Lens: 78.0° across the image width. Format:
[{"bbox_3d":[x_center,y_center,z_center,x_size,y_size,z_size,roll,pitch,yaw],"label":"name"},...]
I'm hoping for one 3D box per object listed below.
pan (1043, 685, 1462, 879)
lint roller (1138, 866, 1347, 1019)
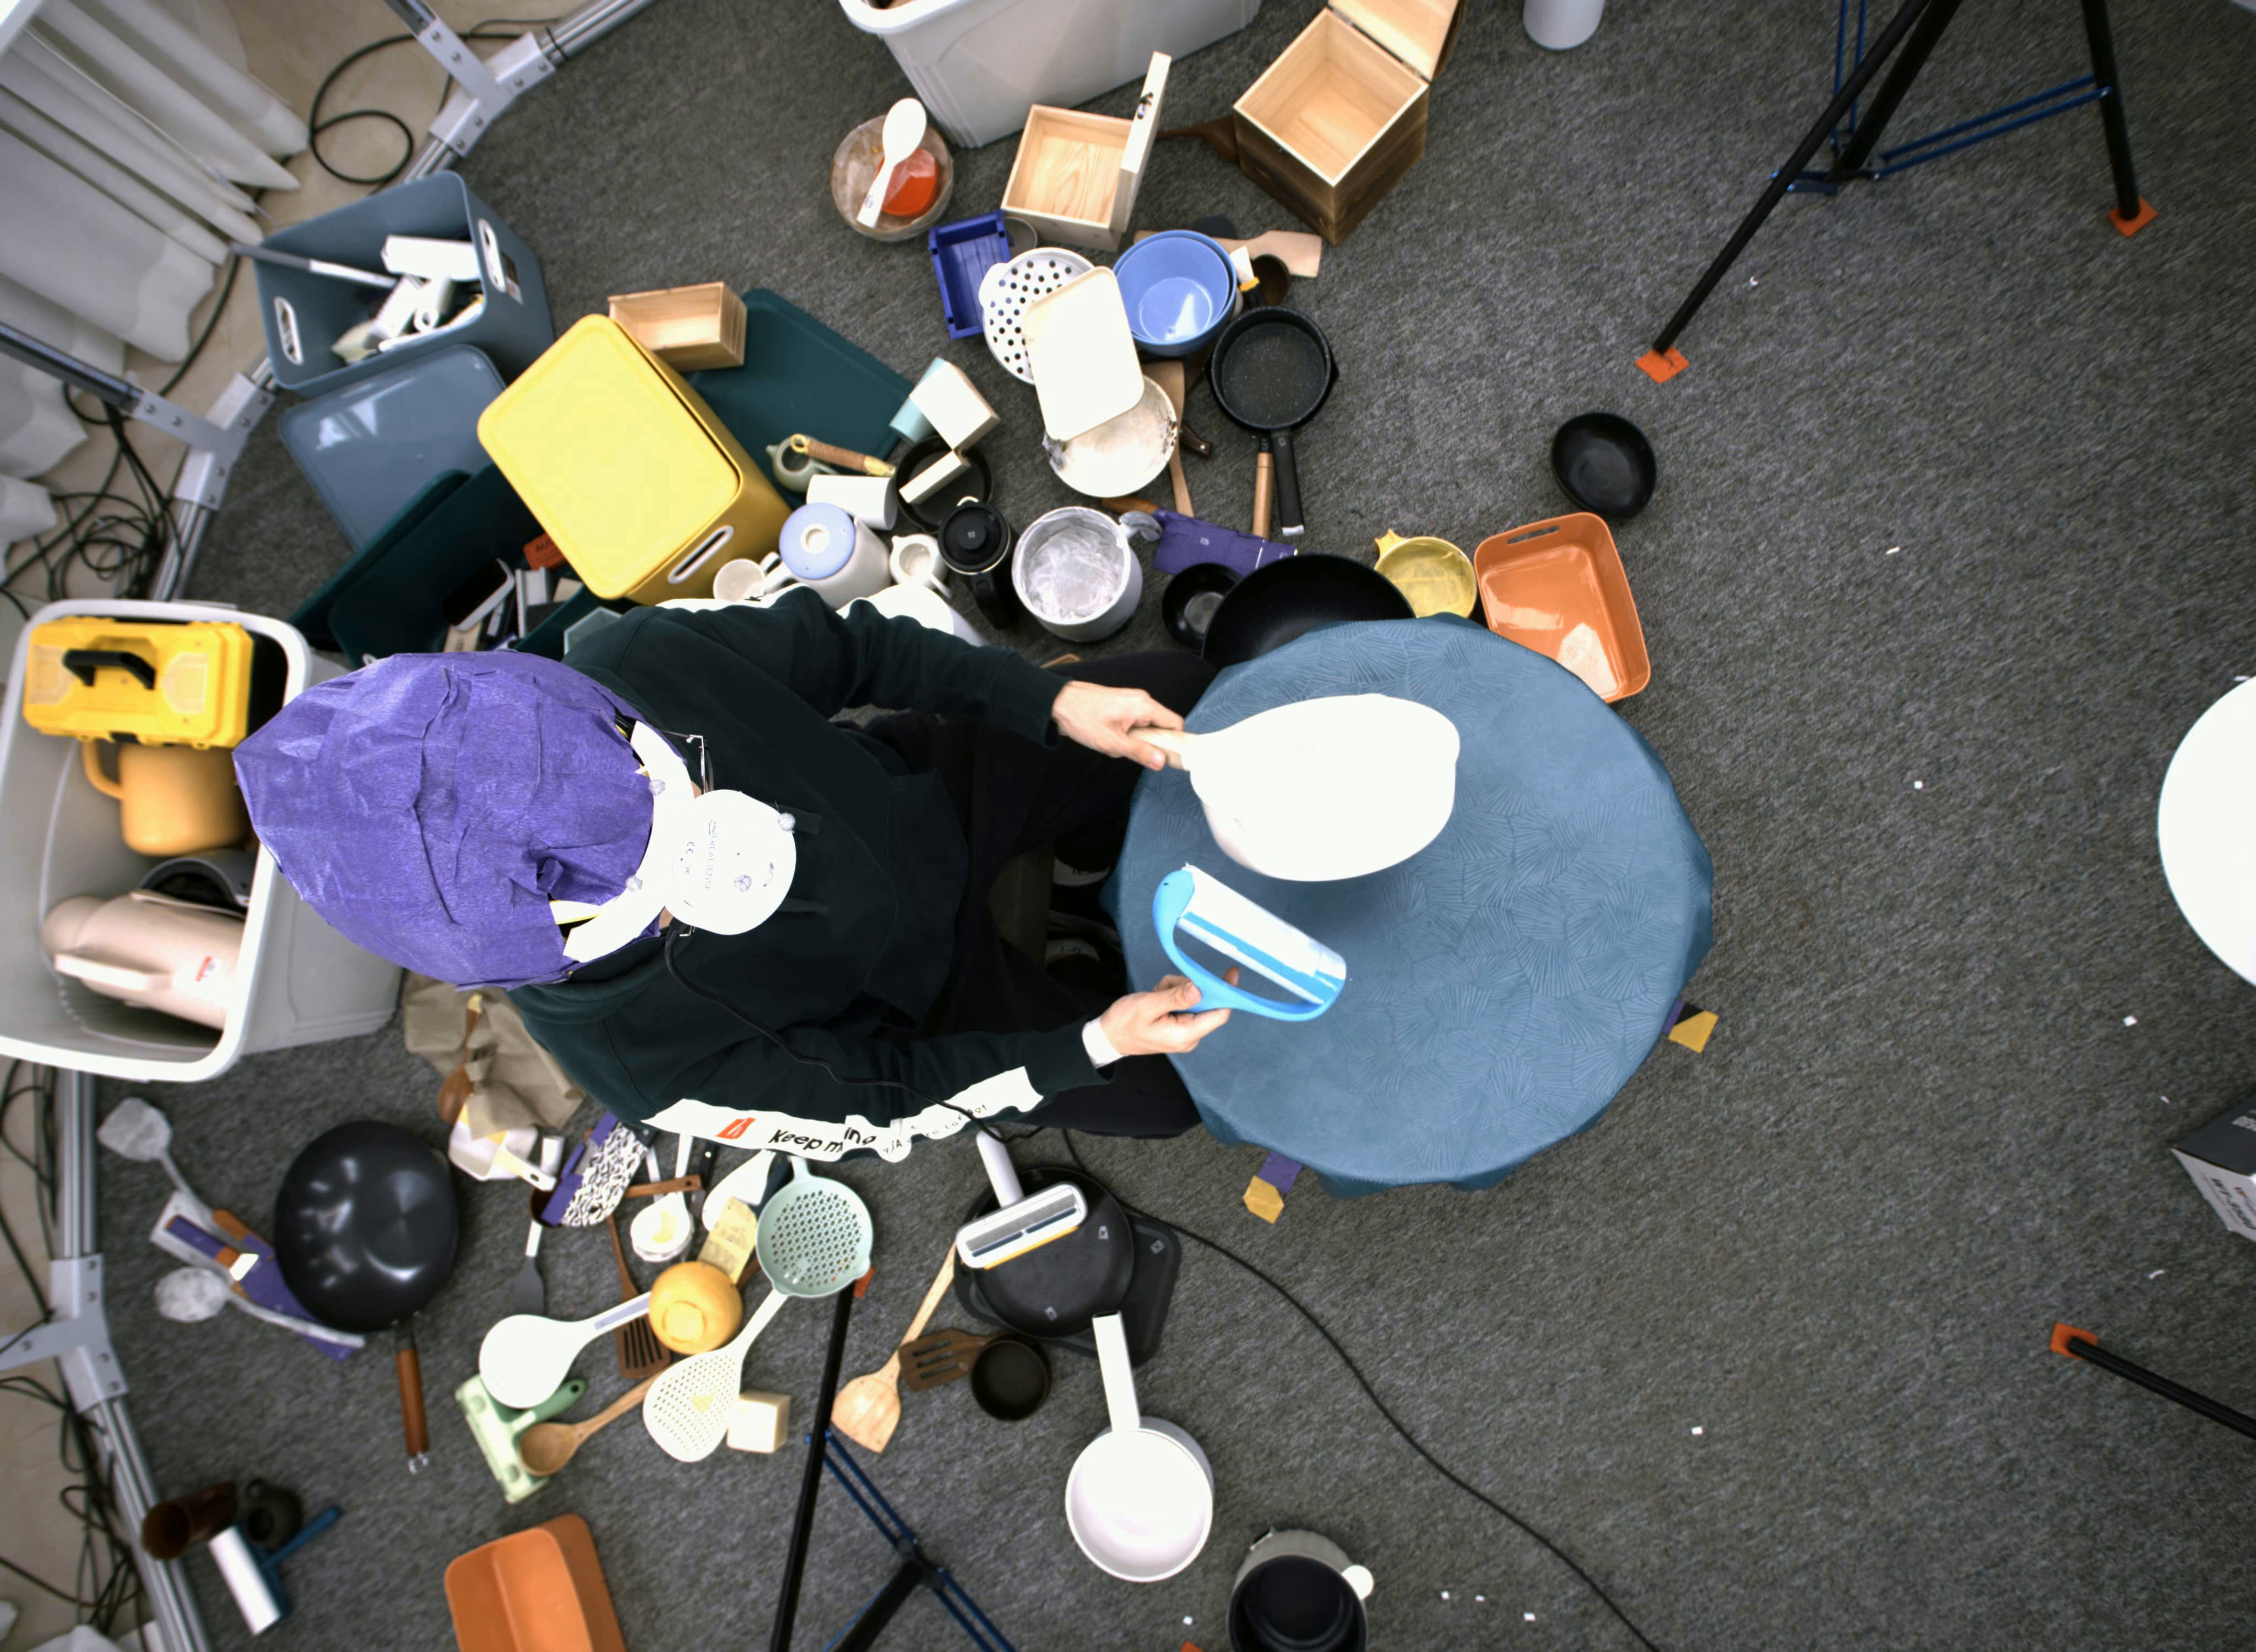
[{"bbox_3d":[0.113,-0.053,1.355,0.437,0.257,0.104,6,127,31],"label":"pan"},{"bbox_3d":[0.079,0.139,1.295,0.184,0.230,0.066,-44,35,29],"label":"lint roller"}]
